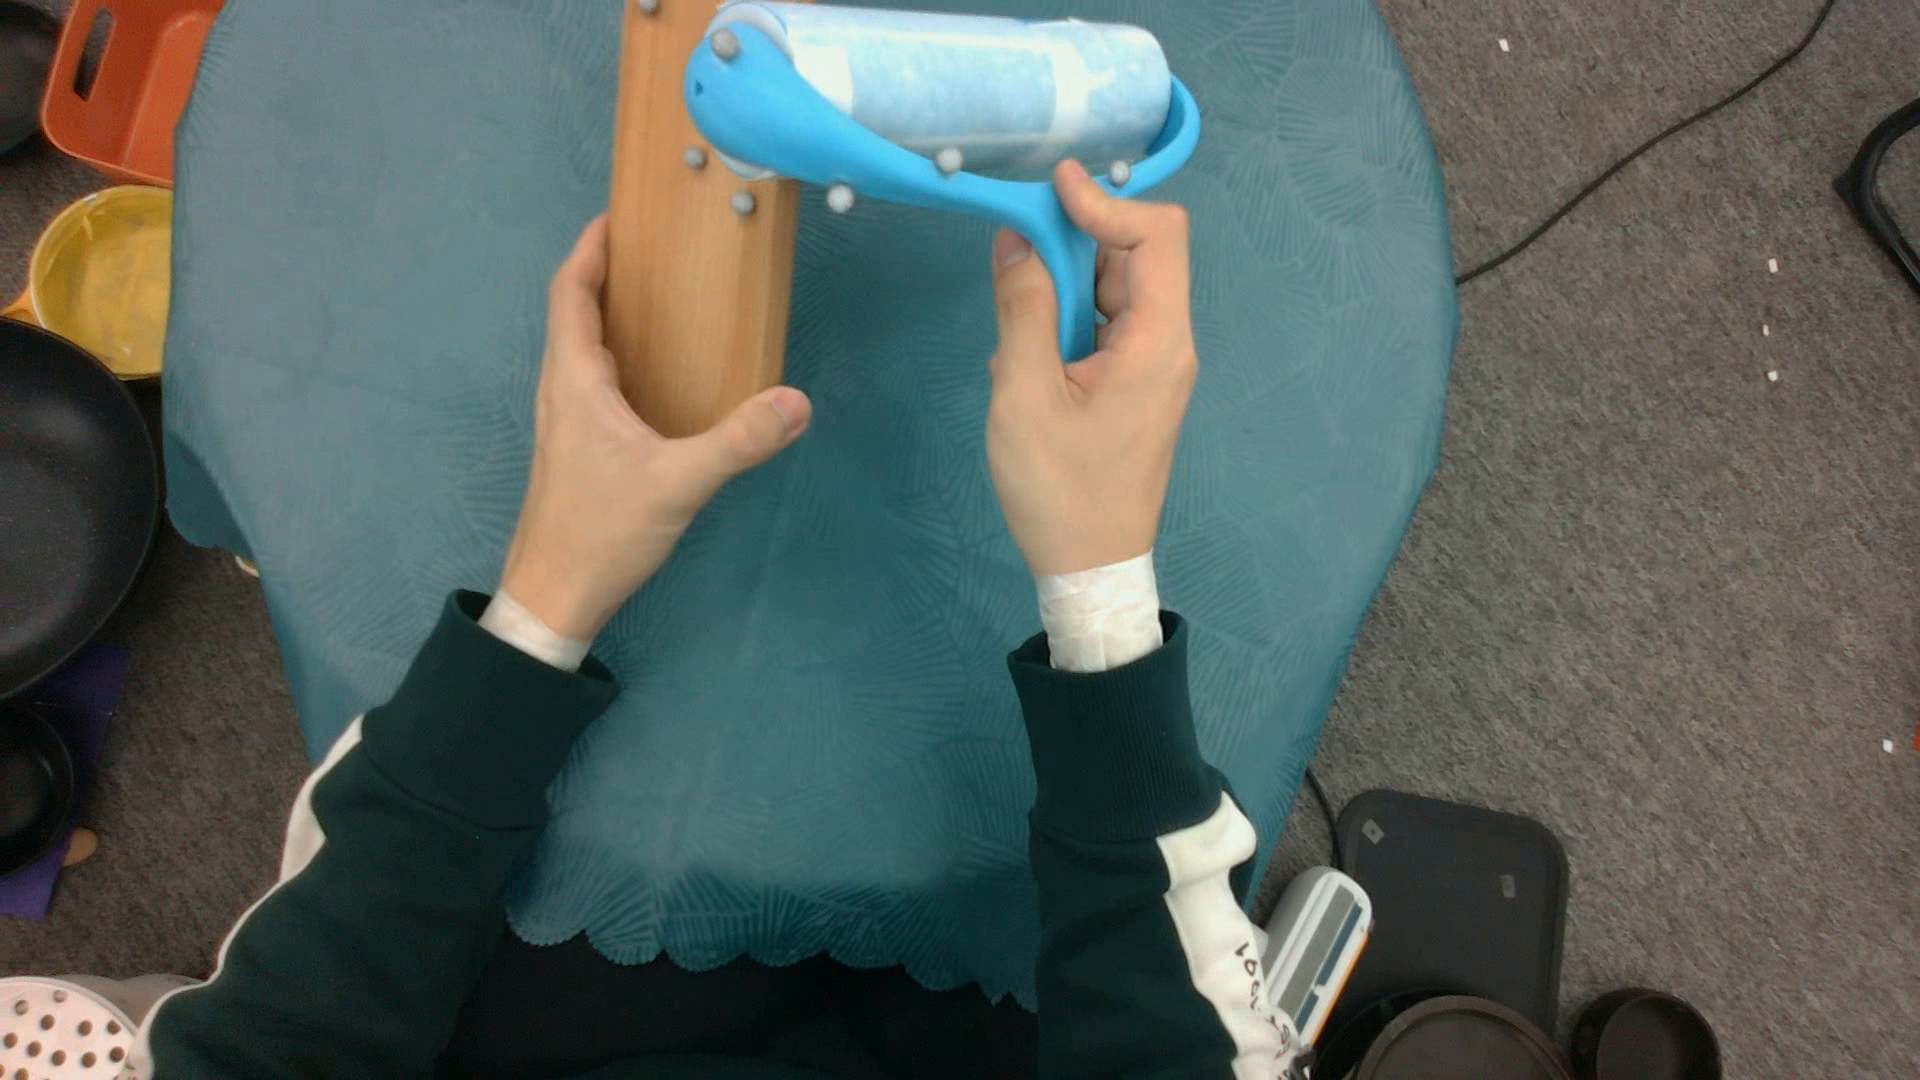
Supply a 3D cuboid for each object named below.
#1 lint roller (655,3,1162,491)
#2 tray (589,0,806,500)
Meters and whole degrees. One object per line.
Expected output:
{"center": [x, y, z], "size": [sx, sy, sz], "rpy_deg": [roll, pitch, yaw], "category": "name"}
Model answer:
{"center": [0.010, -0.111, 0.505], "size": [0.230, 0.067, 0.180], "rpy_deg": [-24, 93, -46], "category": "lint roller"}
{"center": [-0.104, -0.131, 0.541], "size": [0.020, 0.101, 0.231], "rpy_deg": [-1, 96, -51], "category": "tray"}
